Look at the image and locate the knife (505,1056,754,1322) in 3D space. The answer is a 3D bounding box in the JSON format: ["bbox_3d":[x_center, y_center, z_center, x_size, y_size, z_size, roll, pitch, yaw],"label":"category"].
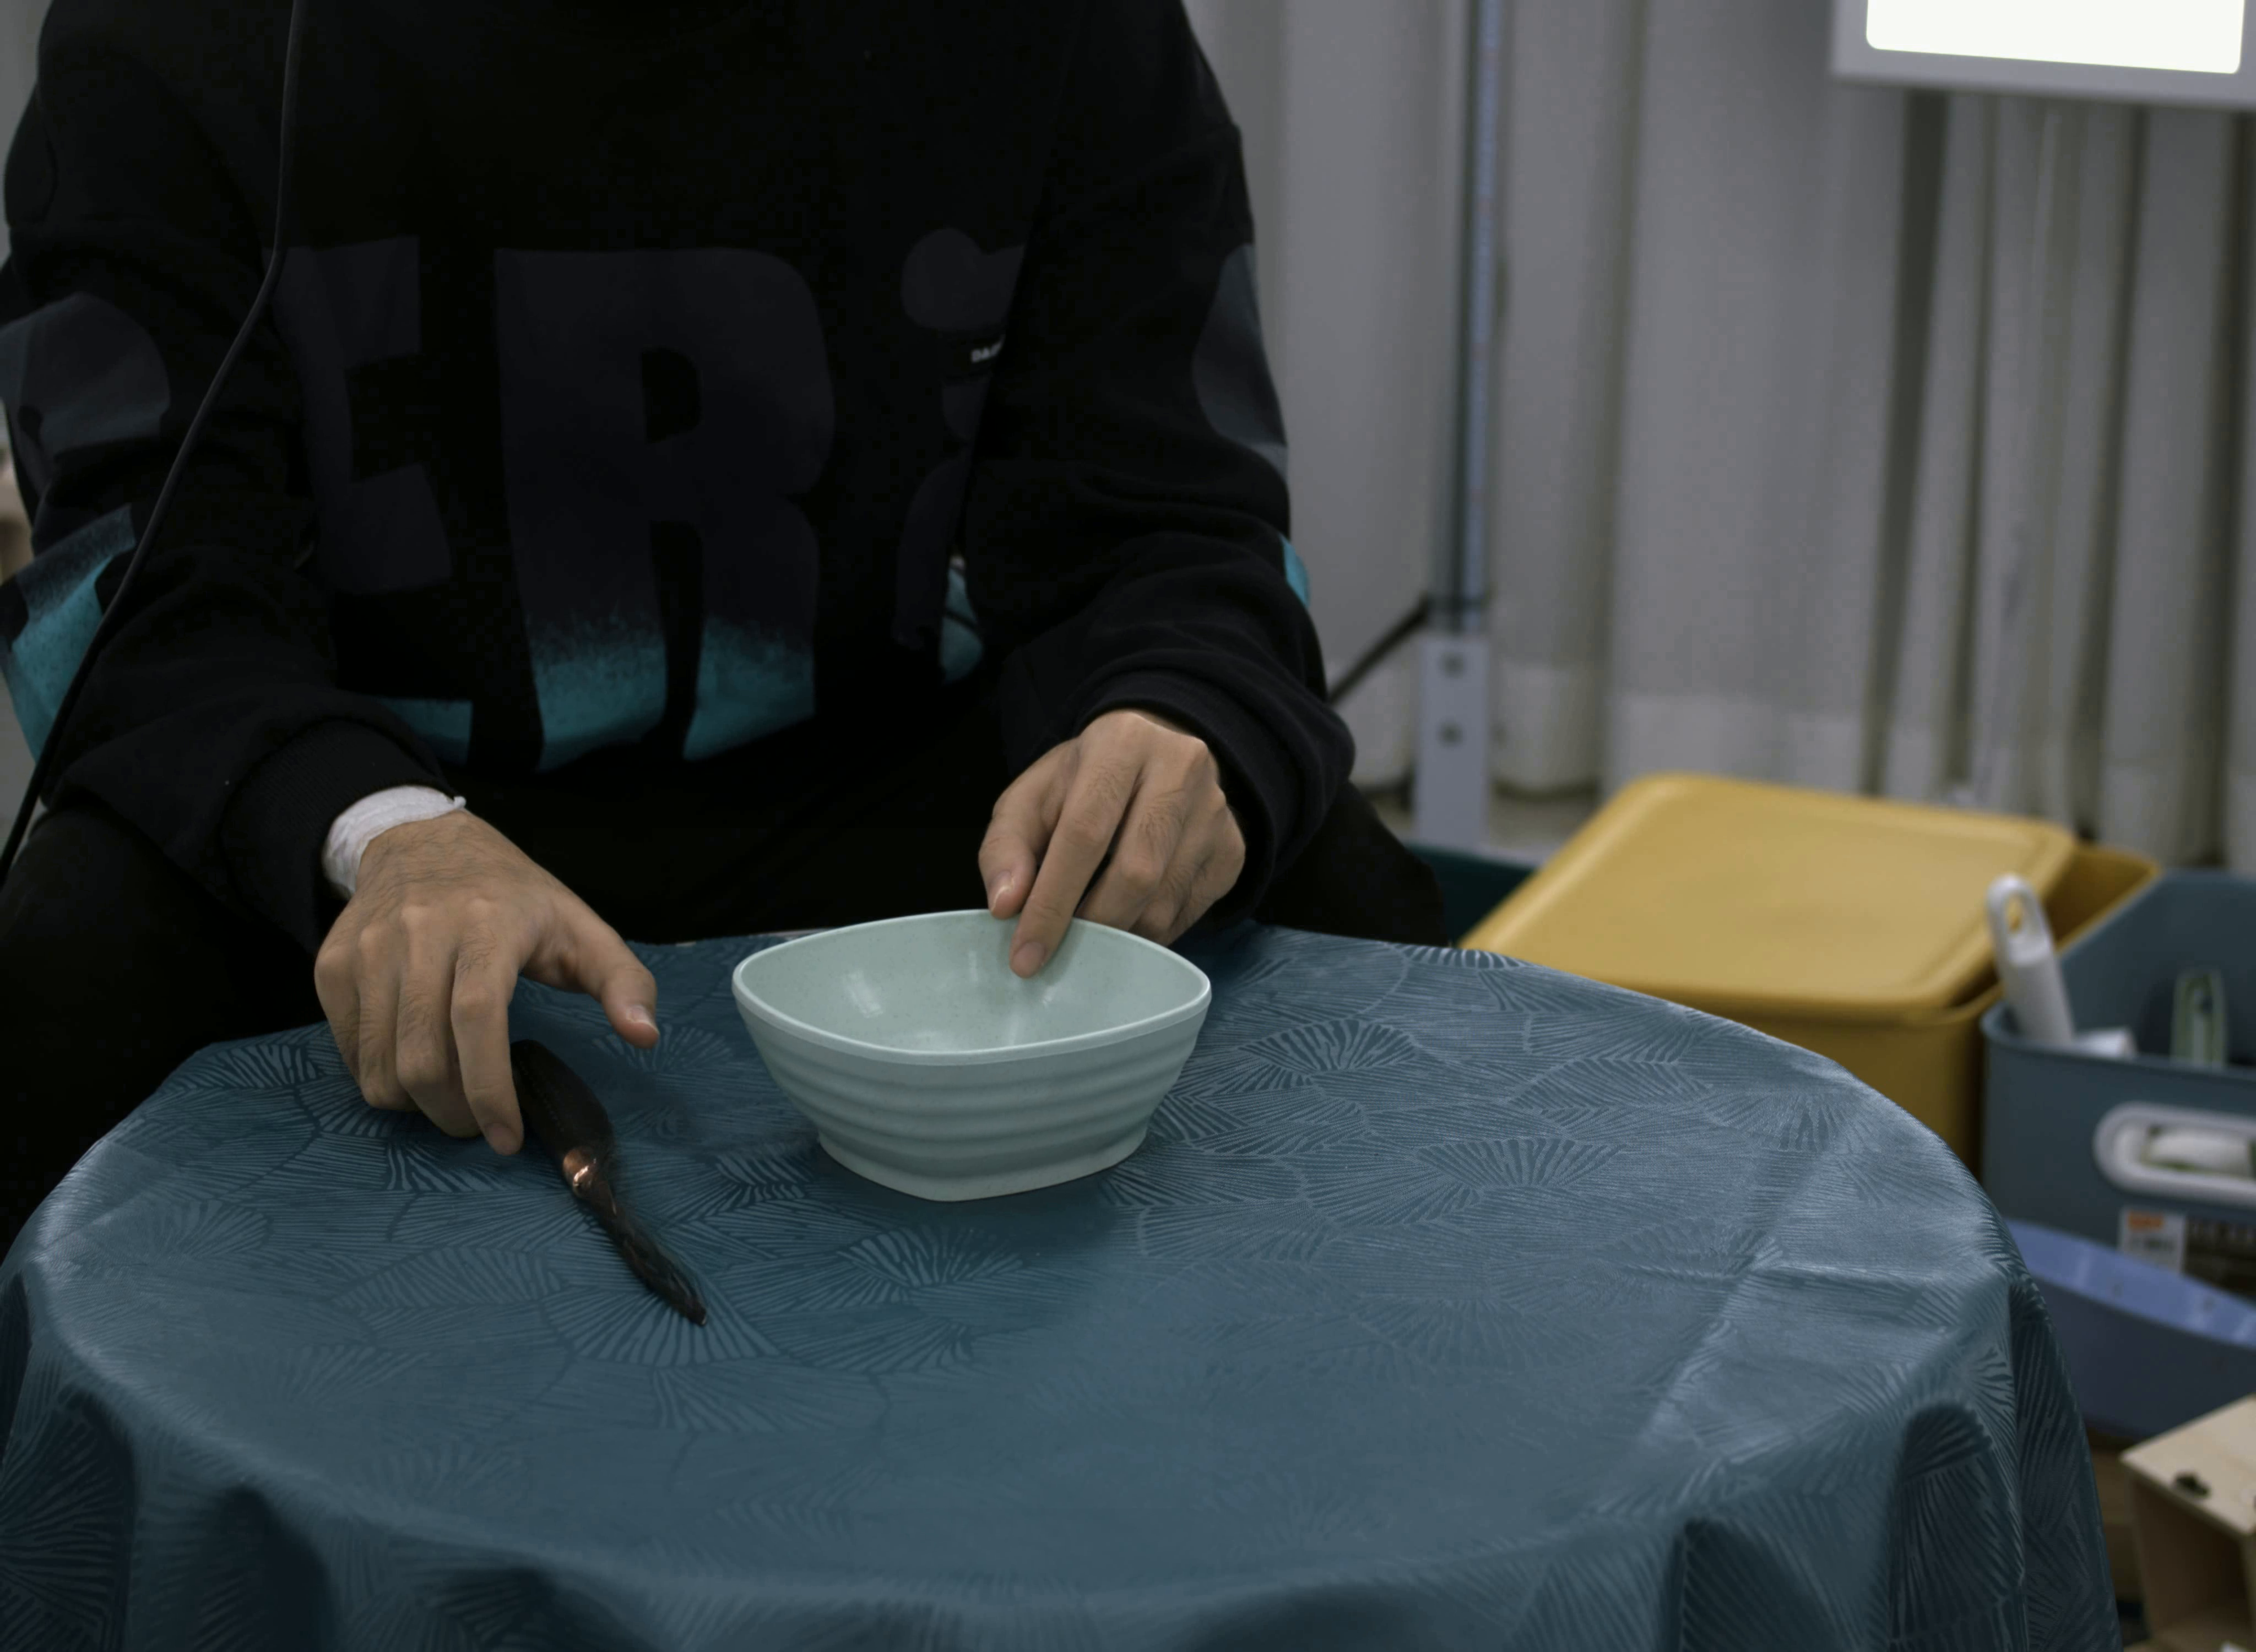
[{"bbox_3d":[-0.155,0.110,1.605,0.026,0.017,0.223,1,16,-22],"label":"knife"}]

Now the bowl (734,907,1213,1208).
[{"bbox_3d":[-0.048,0.076,1.649,0.151,0.059,0.150,0,17,1],"label":"bowl"}]
